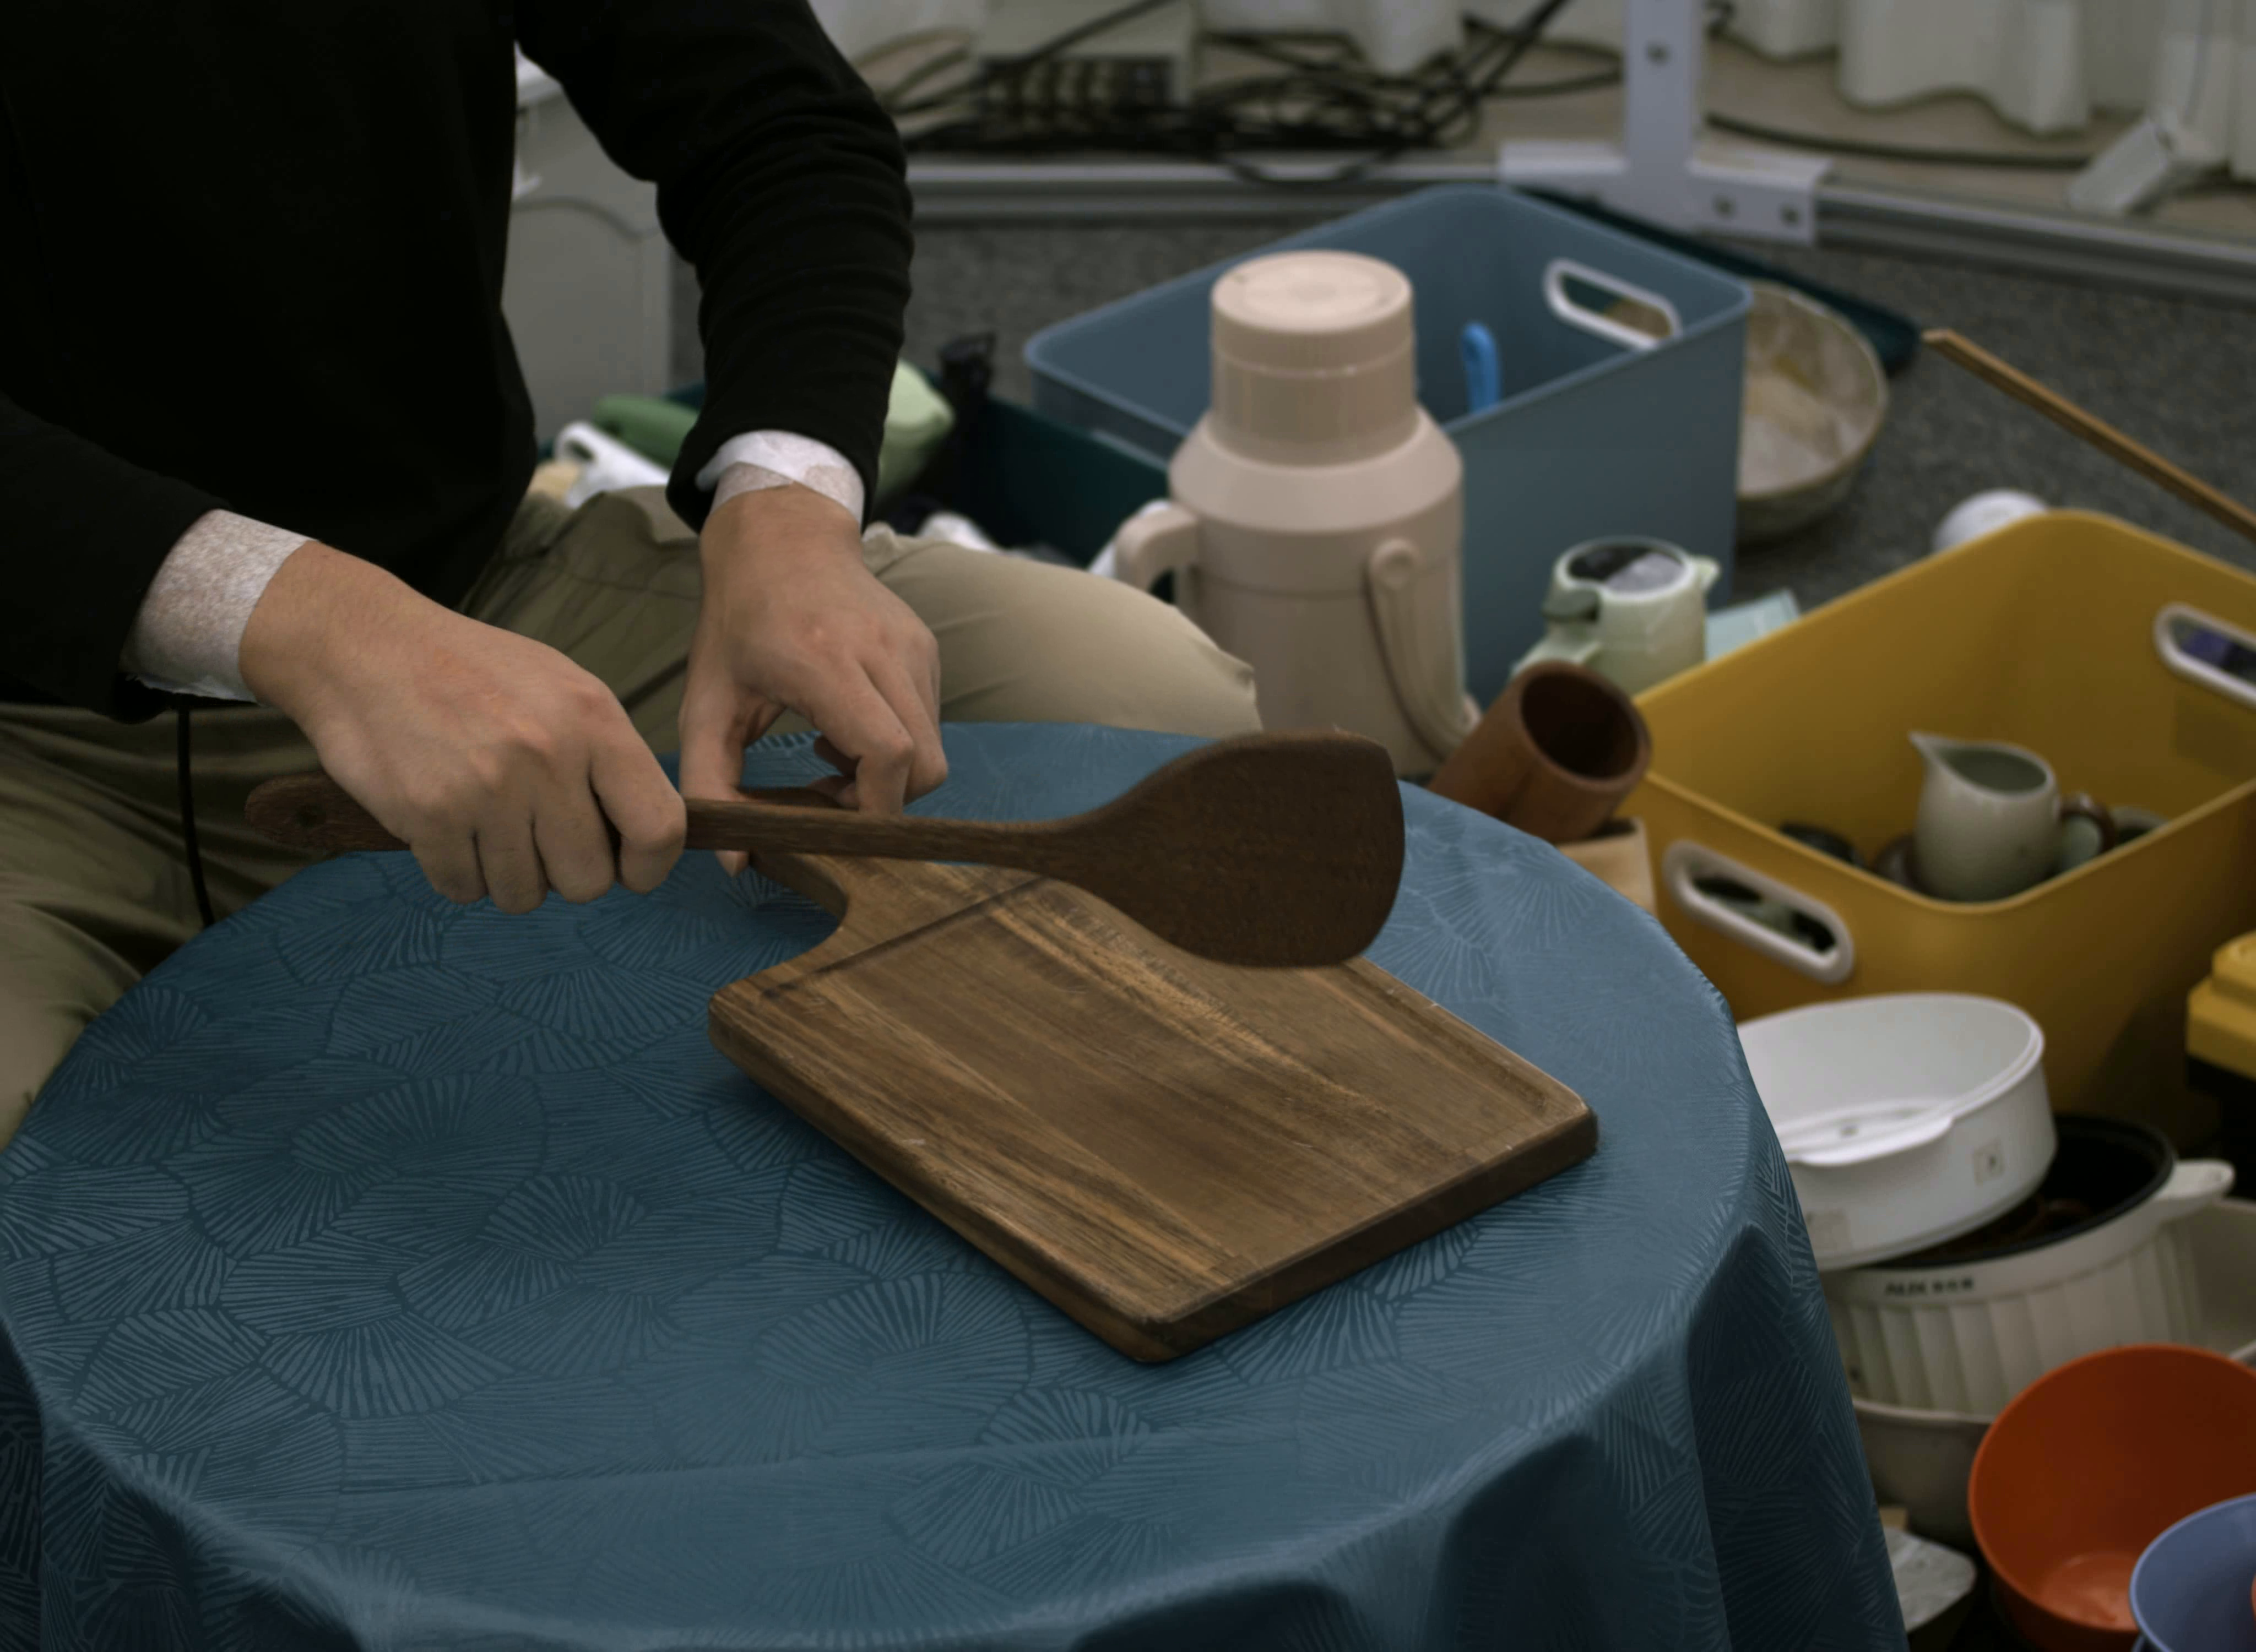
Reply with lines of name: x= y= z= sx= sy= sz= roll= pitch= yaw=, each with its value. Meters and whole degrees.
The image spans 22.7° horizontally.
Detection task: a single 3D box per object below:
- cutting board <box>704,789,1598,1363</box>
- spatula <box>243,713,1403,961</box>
cutting board: x=-0.025 y=0.064 z=1.930 sx=0.203 sy=0.023 sz=0.353 roll=-22 pitch=36 yaw=-33
spatula: x=-0.101 y=-0.002 z=1.865 sx=0.384 sy=0.095 sz=0.016 roll=3 pitch=31 yaw=0
